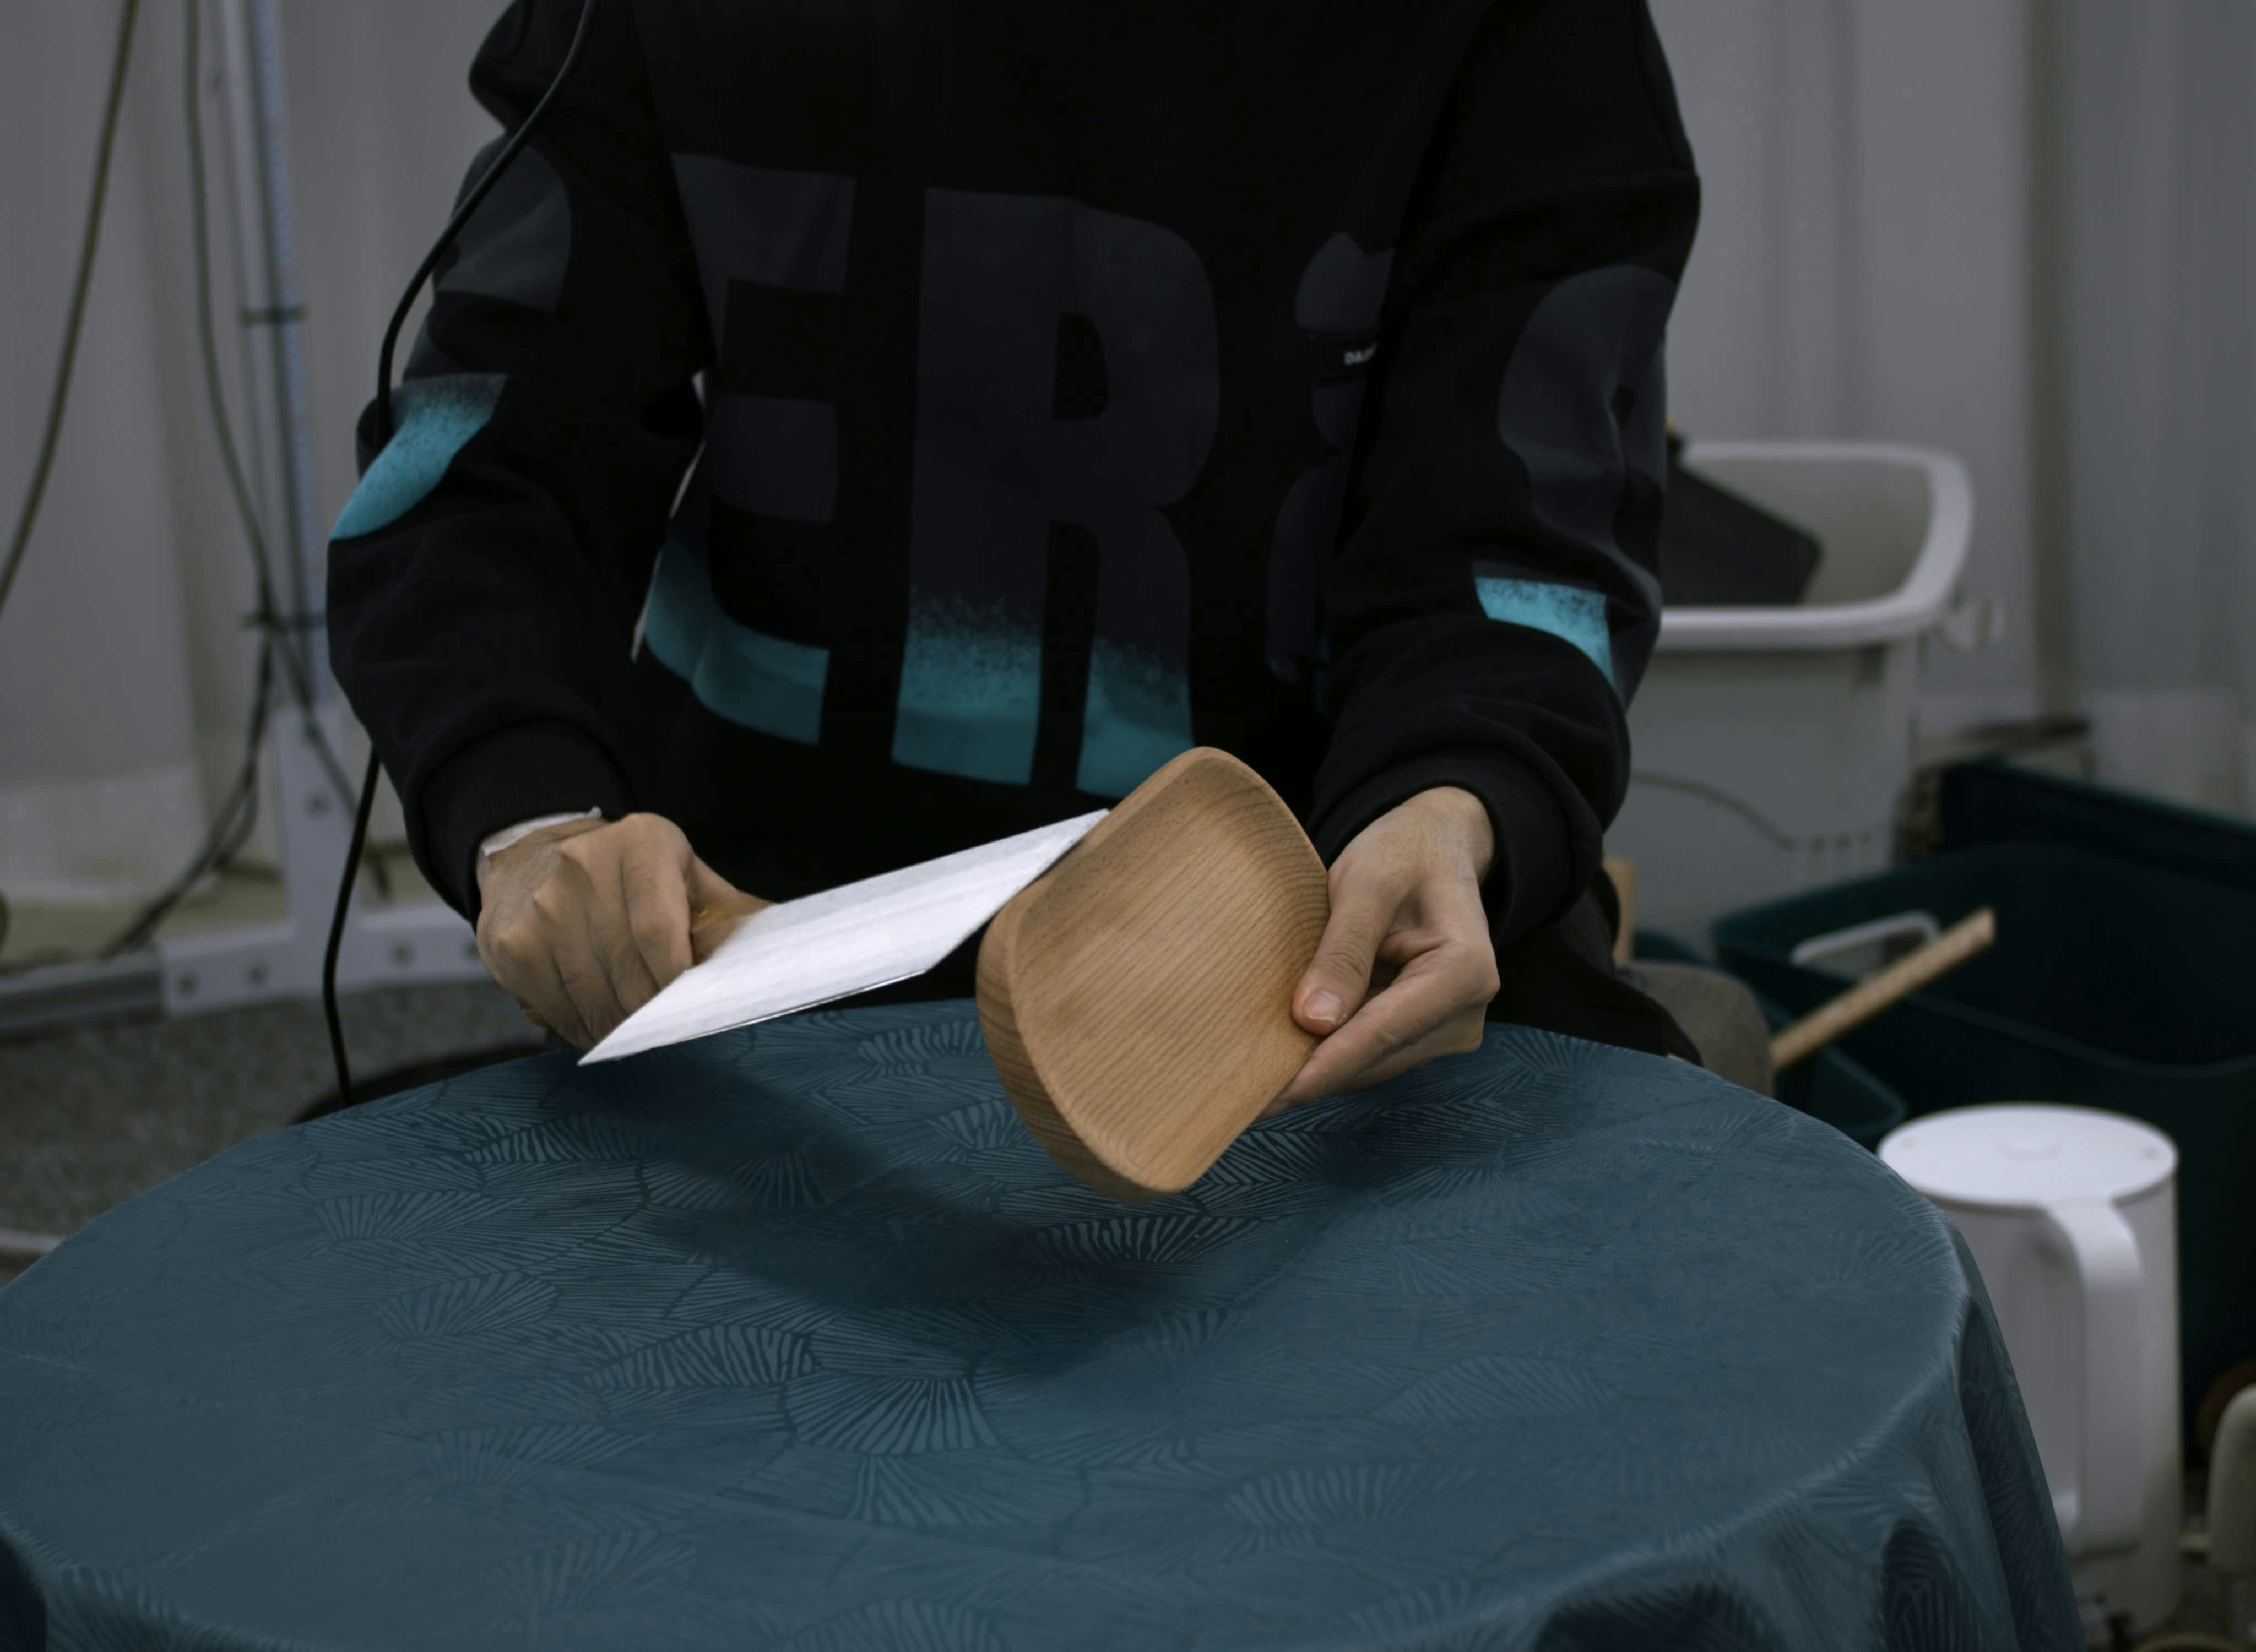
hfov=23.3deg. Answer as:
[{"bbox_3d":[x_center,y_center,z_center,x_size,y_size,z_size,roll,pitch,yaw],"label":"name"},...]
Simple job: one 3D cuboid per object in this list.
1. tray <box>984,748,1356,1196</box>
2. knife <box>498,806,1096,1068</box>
[{"bbox_3d":[0.014,0.043,1.669,0.020,0.101,0.232,-27,5,25],"label":"tray"},{"bbox_3d":[-0.124,0.043,1.723,0.305,0.021,0.093,-16,21,51],"label":"knife"}]
